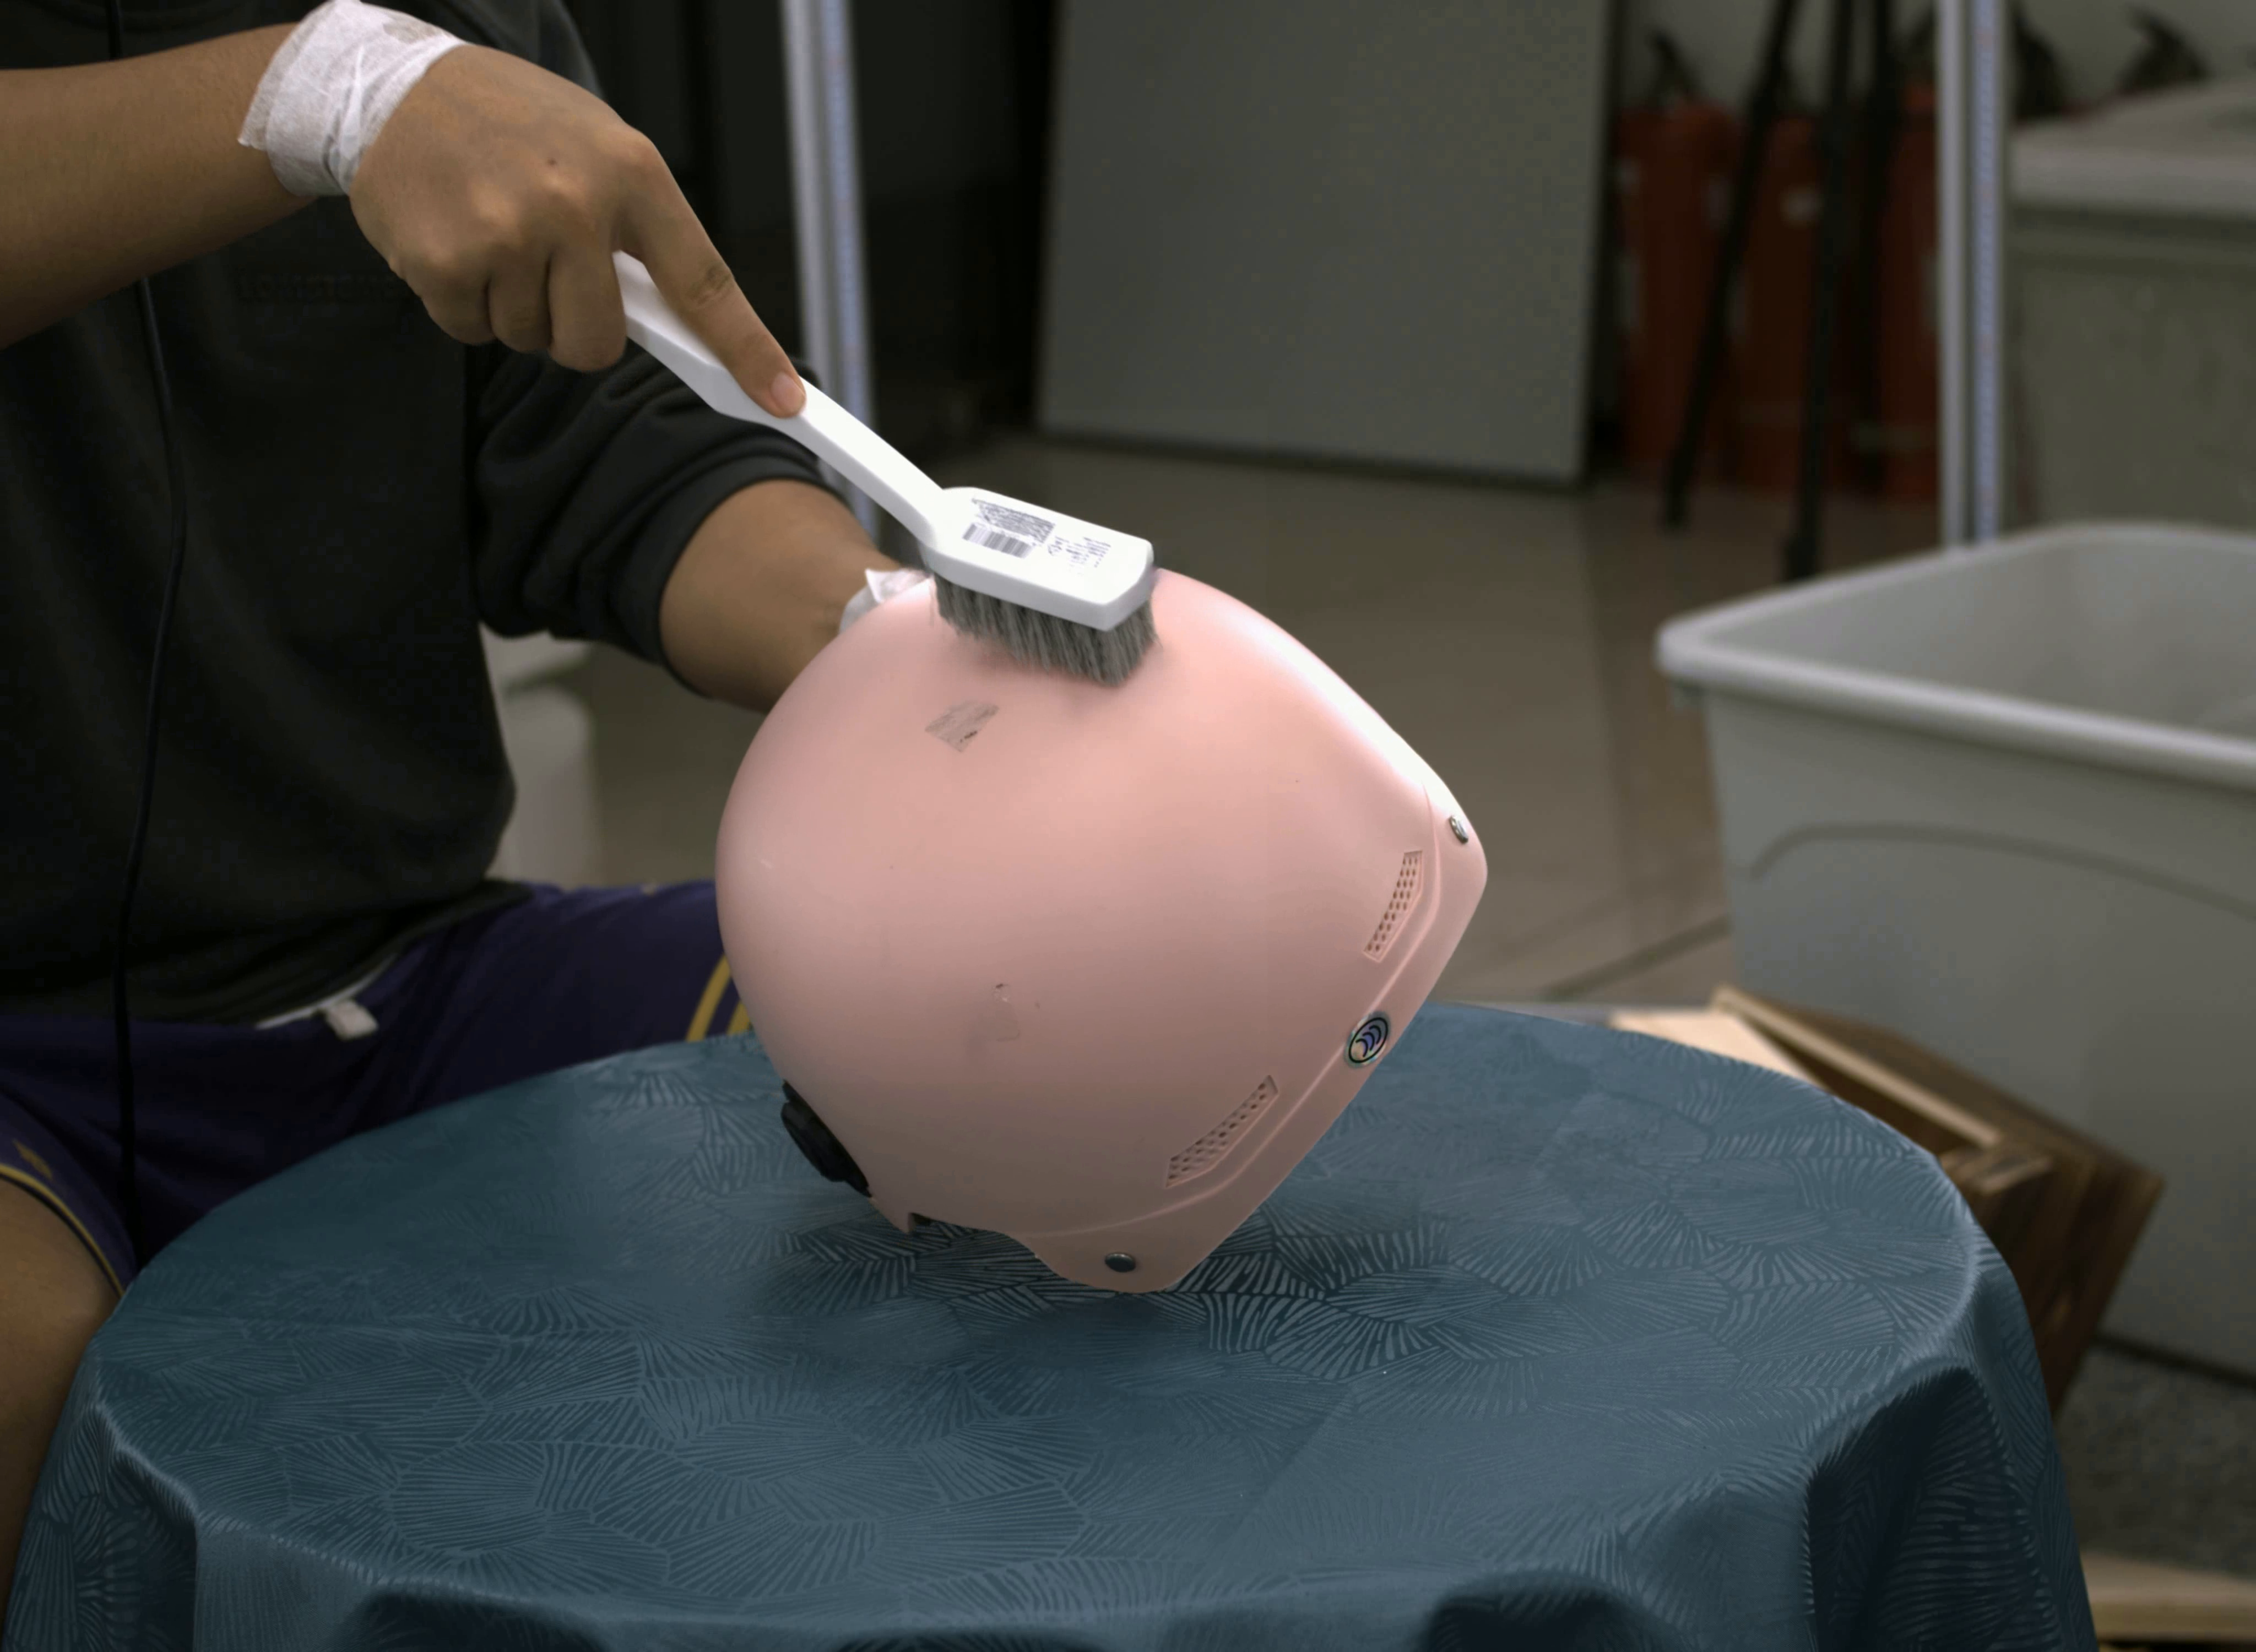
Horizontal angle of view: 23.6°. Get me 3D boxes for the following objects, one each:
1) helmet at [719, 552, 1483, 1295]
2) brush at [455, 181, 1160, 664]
[{"bbox_3d":[-0.034,0.005,1.692,0.269,0.157,0.234,24,73,46],"label":"helmet"},{"bbox_3d":[-0.098,-0.118,1.620,0.242,0.050,0.034,28,47,4],"label":"brush"}]
